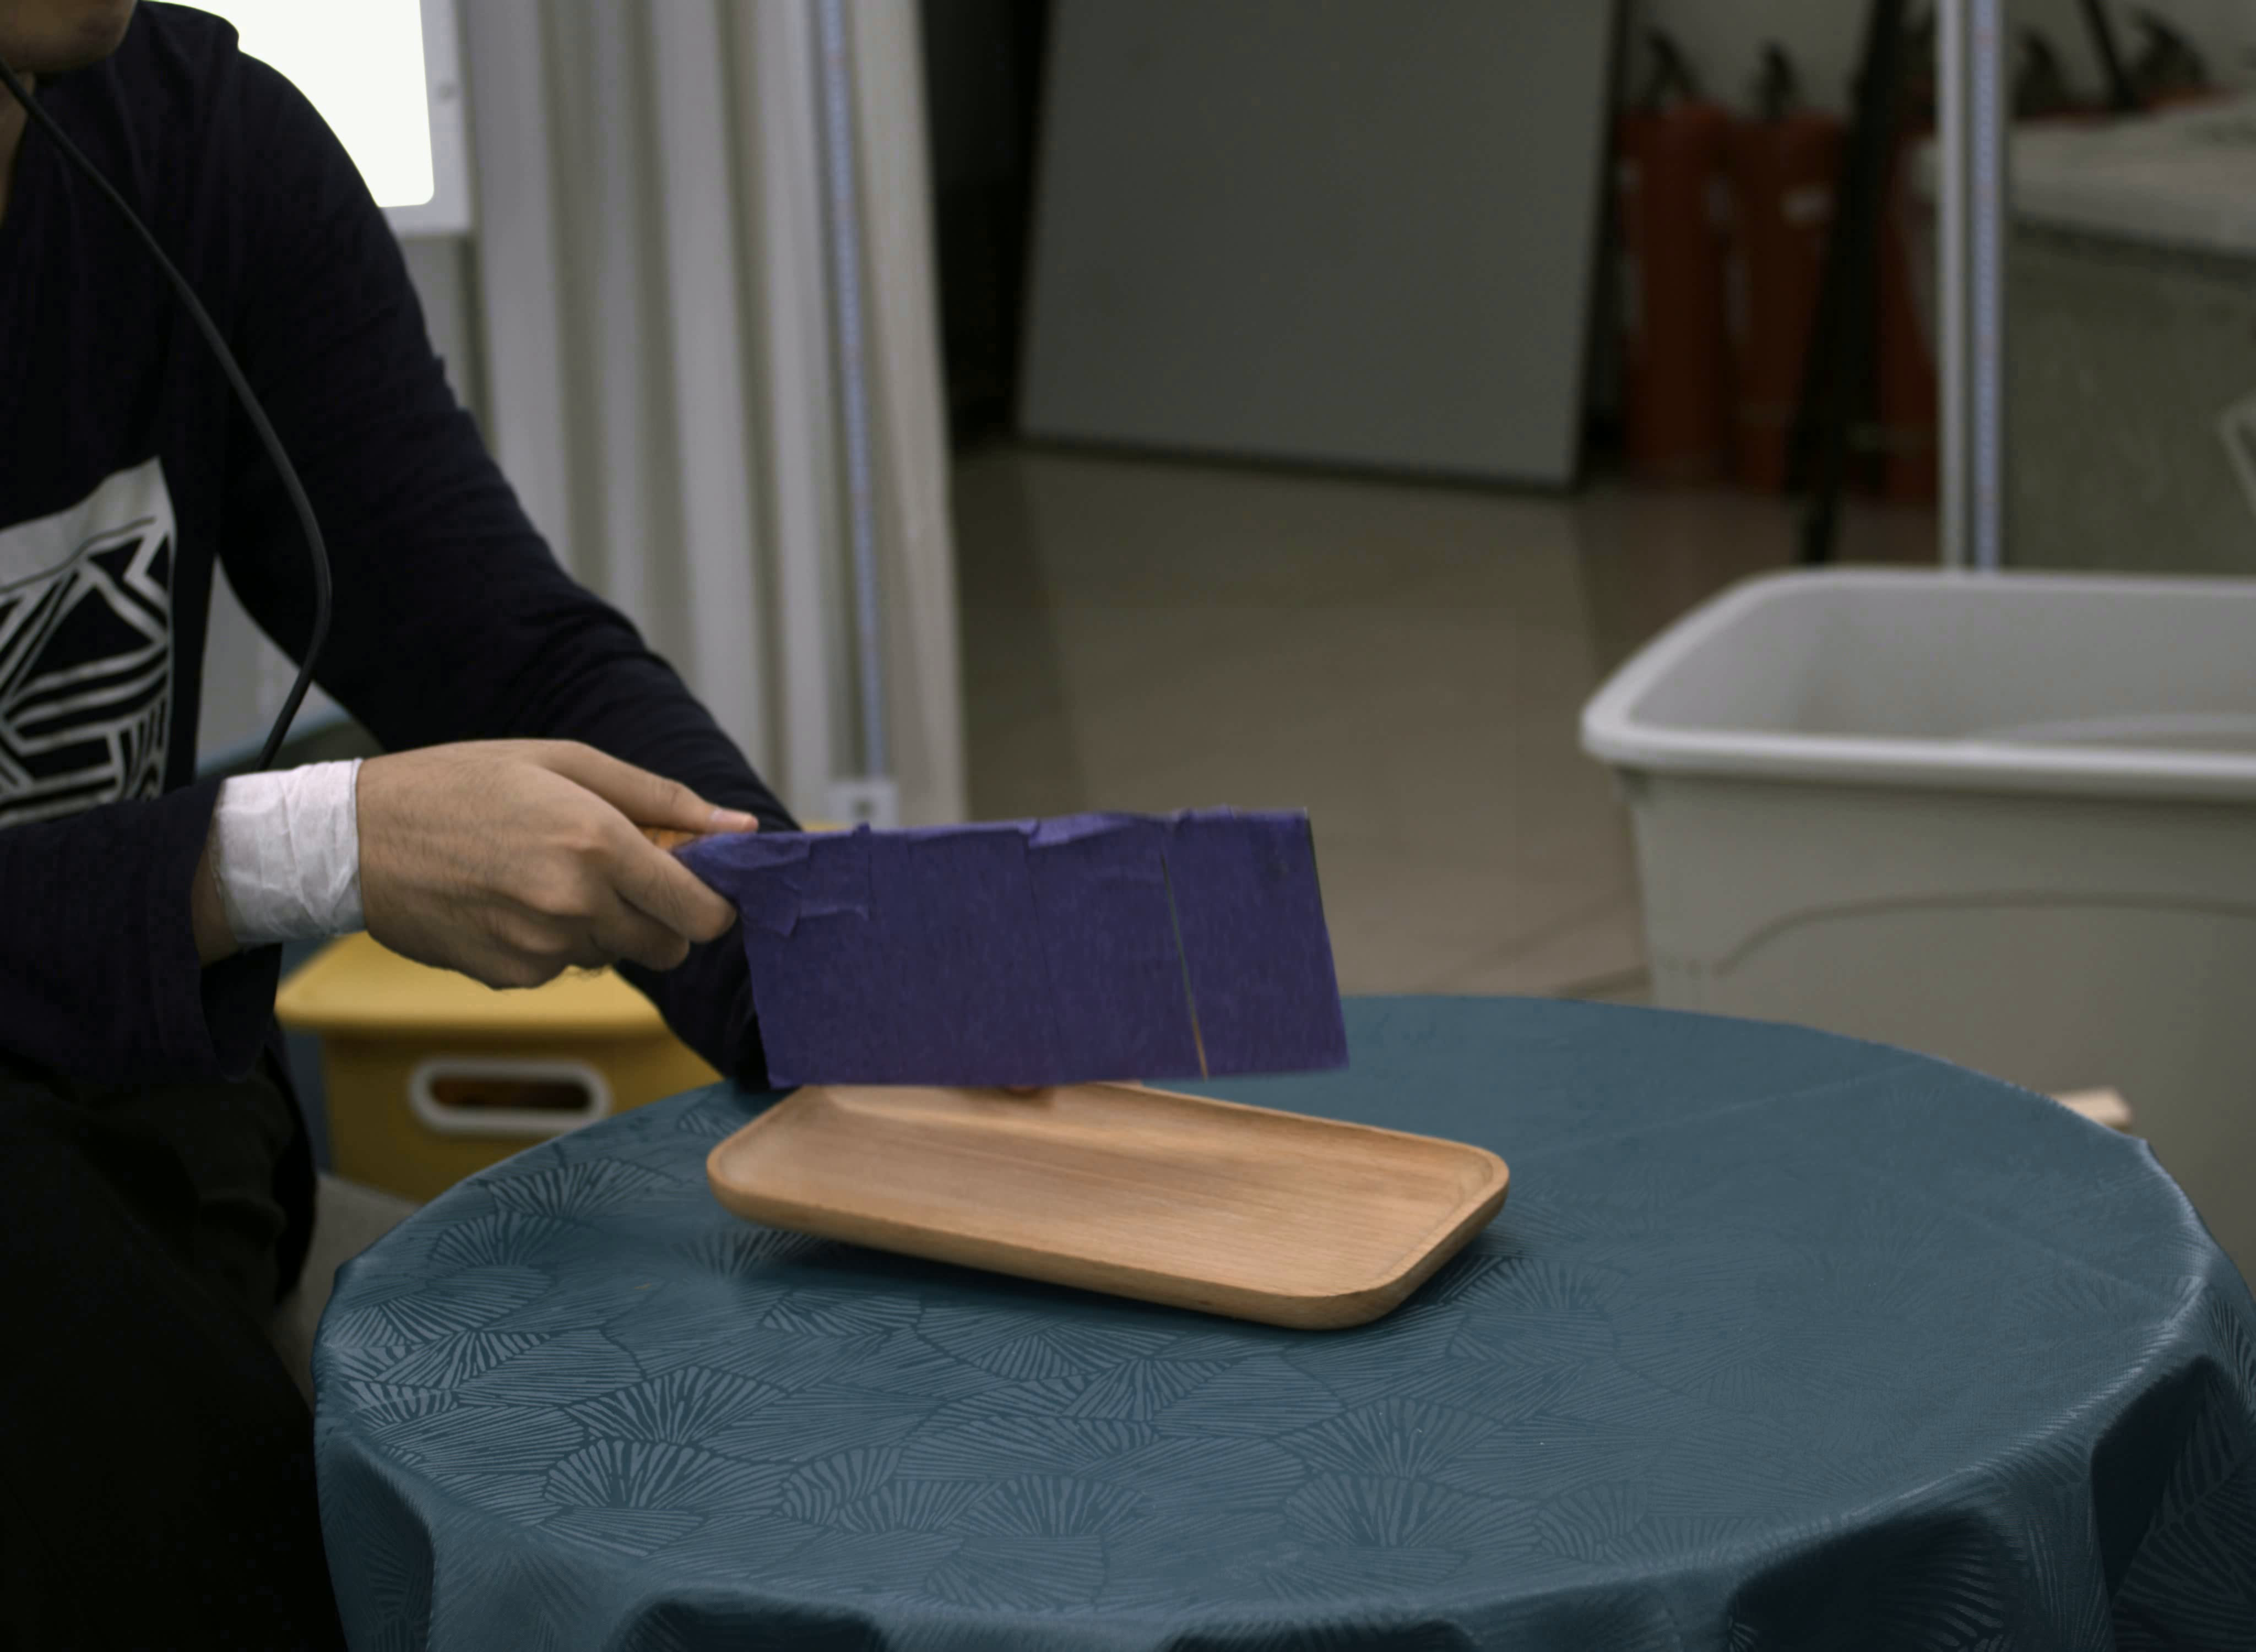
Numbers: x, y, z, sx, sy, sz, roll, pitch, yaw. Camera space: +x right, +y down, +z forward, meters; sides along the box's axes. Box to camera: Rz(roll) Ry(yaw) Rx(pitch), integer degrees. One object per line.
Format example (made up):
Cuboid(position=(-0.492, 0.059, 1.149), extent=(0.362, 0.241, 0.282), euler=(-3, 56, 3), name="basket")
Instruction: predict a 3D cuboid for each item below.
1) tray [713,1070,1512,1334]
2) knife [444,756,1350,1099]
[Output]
Cuboid(position=(-0.006, 0.114, 1.721), extent=(0.252, 0.023, 0.128), euler=(8, 20, 32), name="tray")
Cuboid(position=(-0.079, 0.041, 1.764), extent=(0.316, 0.105, 0.032), euler=(-5, 13, 26), name="knife")
